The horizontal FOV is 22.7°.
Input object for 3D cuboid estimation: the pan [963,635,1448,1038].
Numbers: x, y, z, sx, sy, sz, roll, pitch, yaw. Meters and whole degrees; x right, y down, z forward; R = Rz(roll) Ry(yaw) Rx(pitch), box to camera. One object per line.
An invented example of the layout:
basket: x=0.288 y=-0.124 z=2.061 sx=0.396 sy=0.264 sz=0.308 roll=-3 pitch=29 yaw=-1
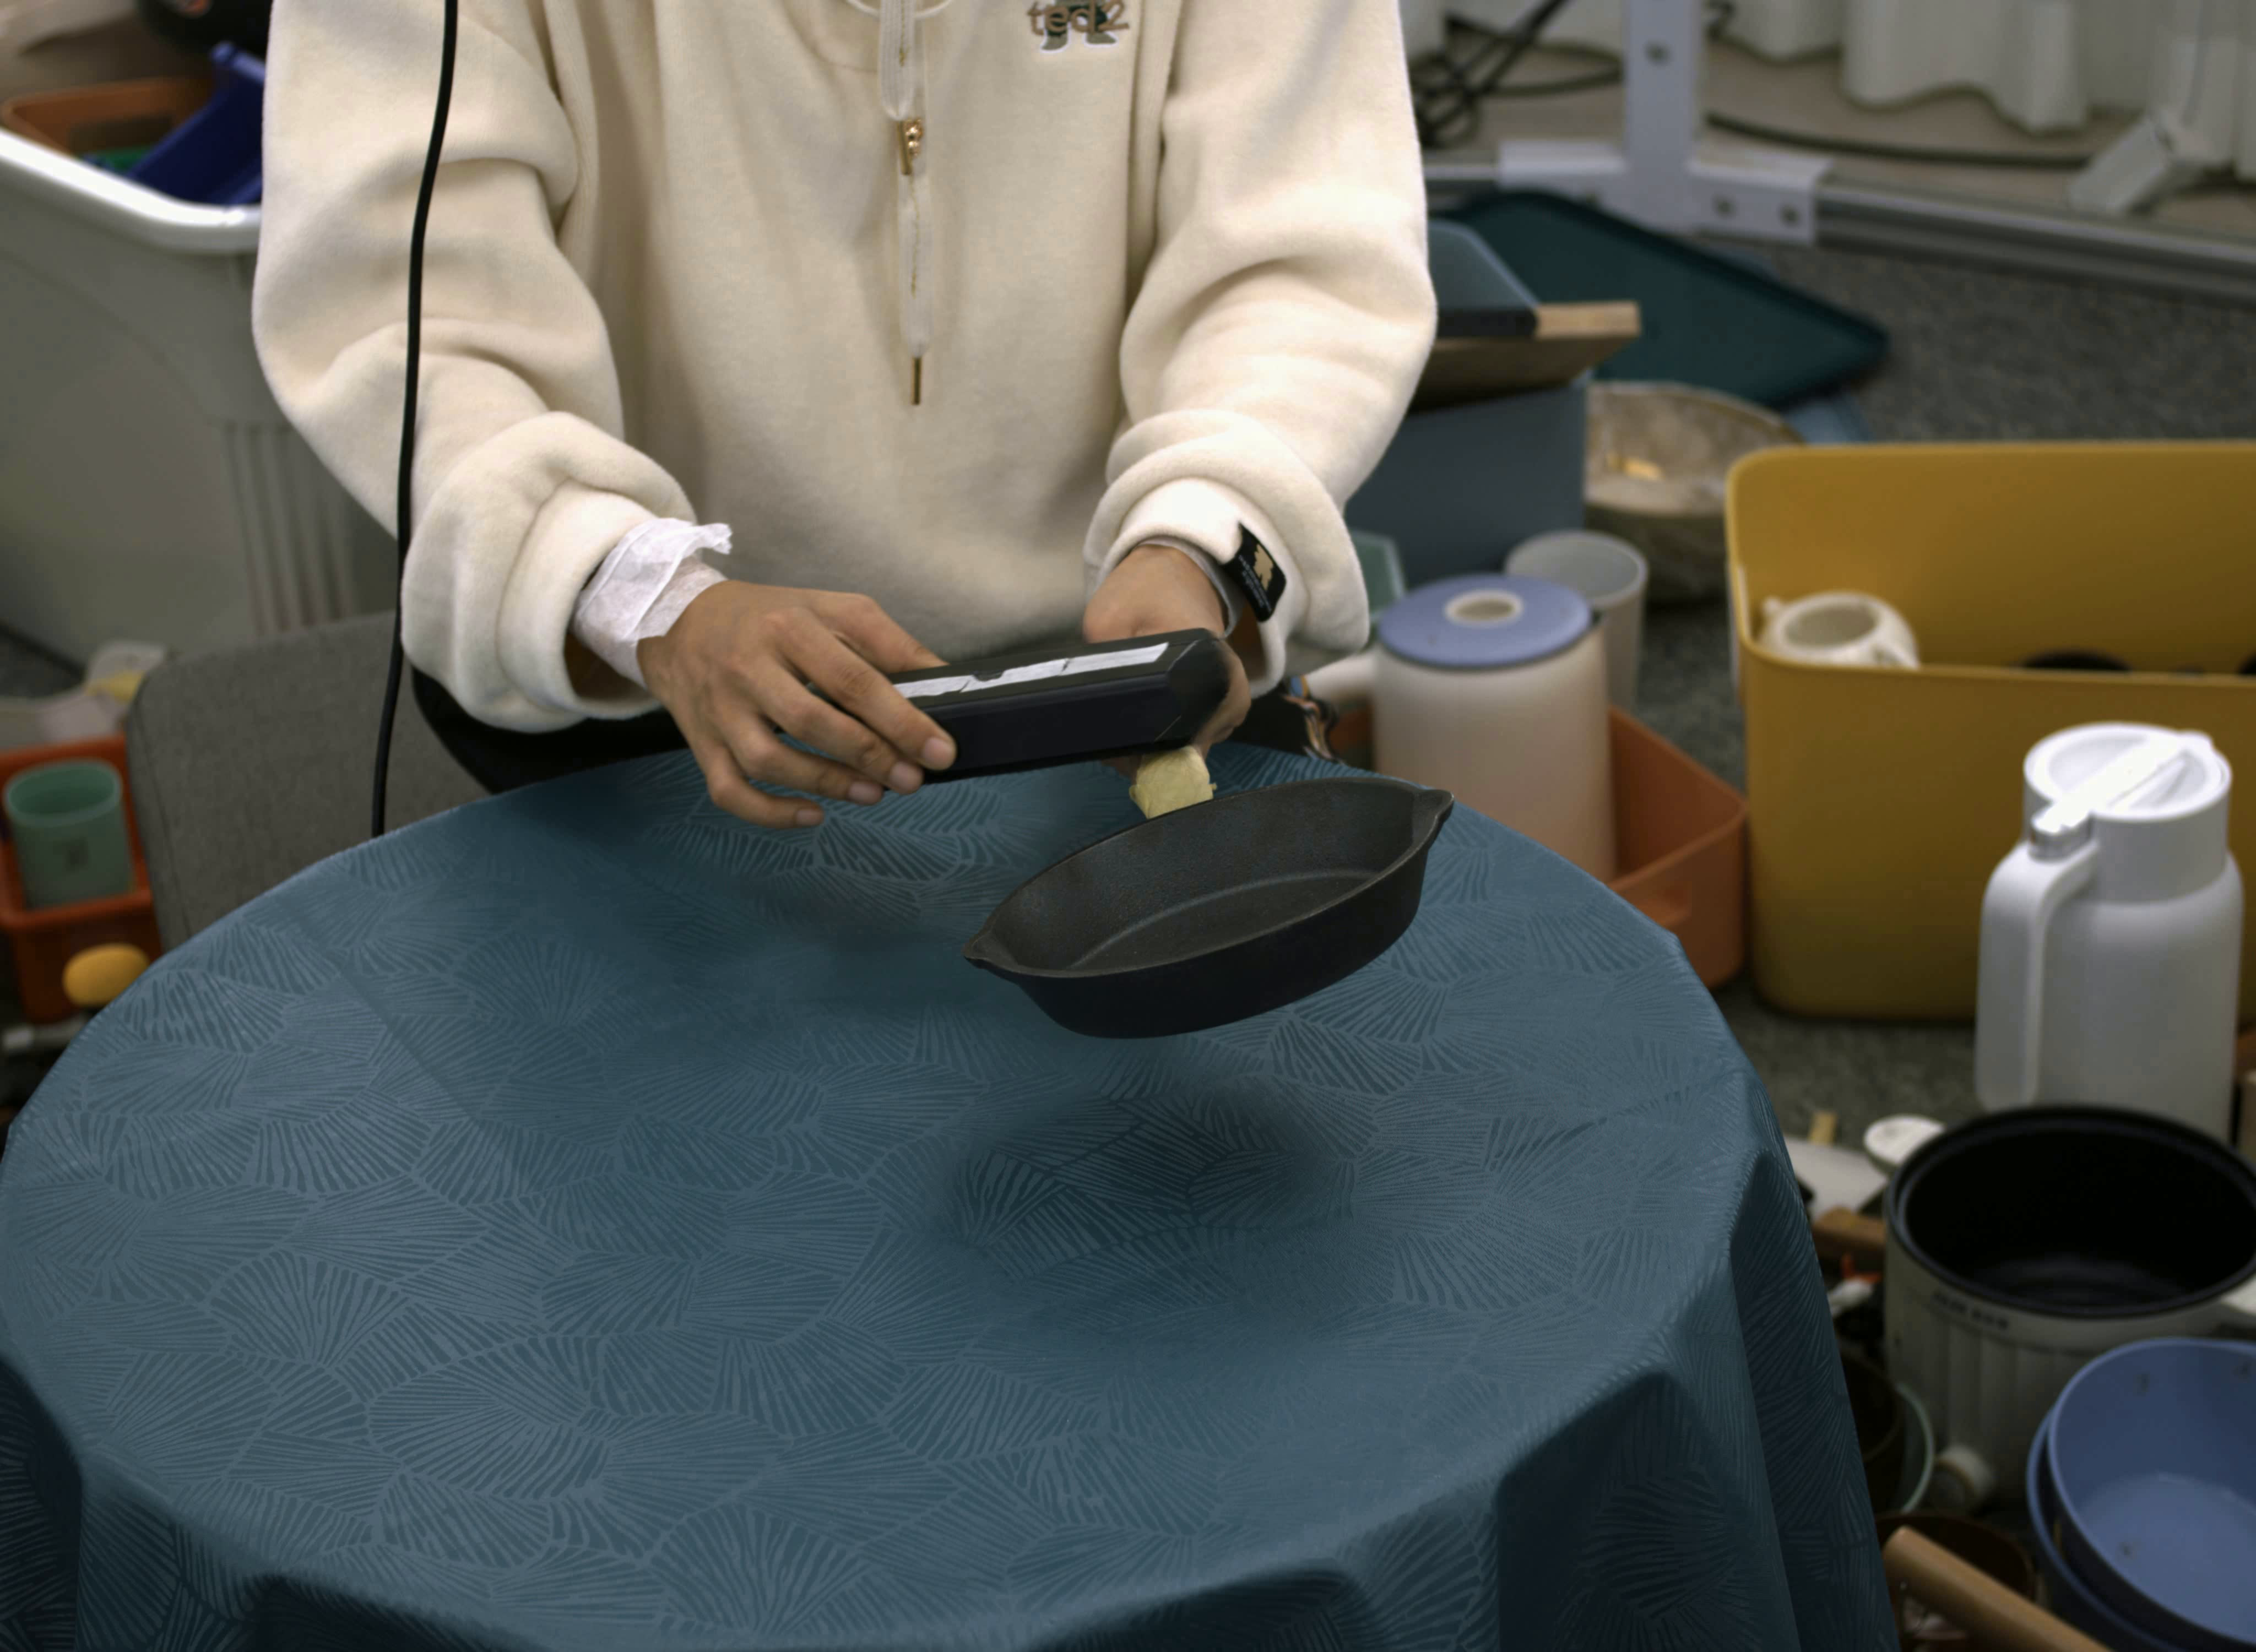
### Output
pan: x=0.022 y=-0.003 z=1.932 sx=0.168 sy=0.049 sz=0.327 roll=-18 pitch=17 yaw=1

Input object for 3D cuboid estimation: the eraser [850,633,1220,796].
eraser: x=-0.032 y=-0.040 z=1.985 sx=0.124 sy=0.030 sz=0.054 roll=-9 pitch=18 yaw=20
